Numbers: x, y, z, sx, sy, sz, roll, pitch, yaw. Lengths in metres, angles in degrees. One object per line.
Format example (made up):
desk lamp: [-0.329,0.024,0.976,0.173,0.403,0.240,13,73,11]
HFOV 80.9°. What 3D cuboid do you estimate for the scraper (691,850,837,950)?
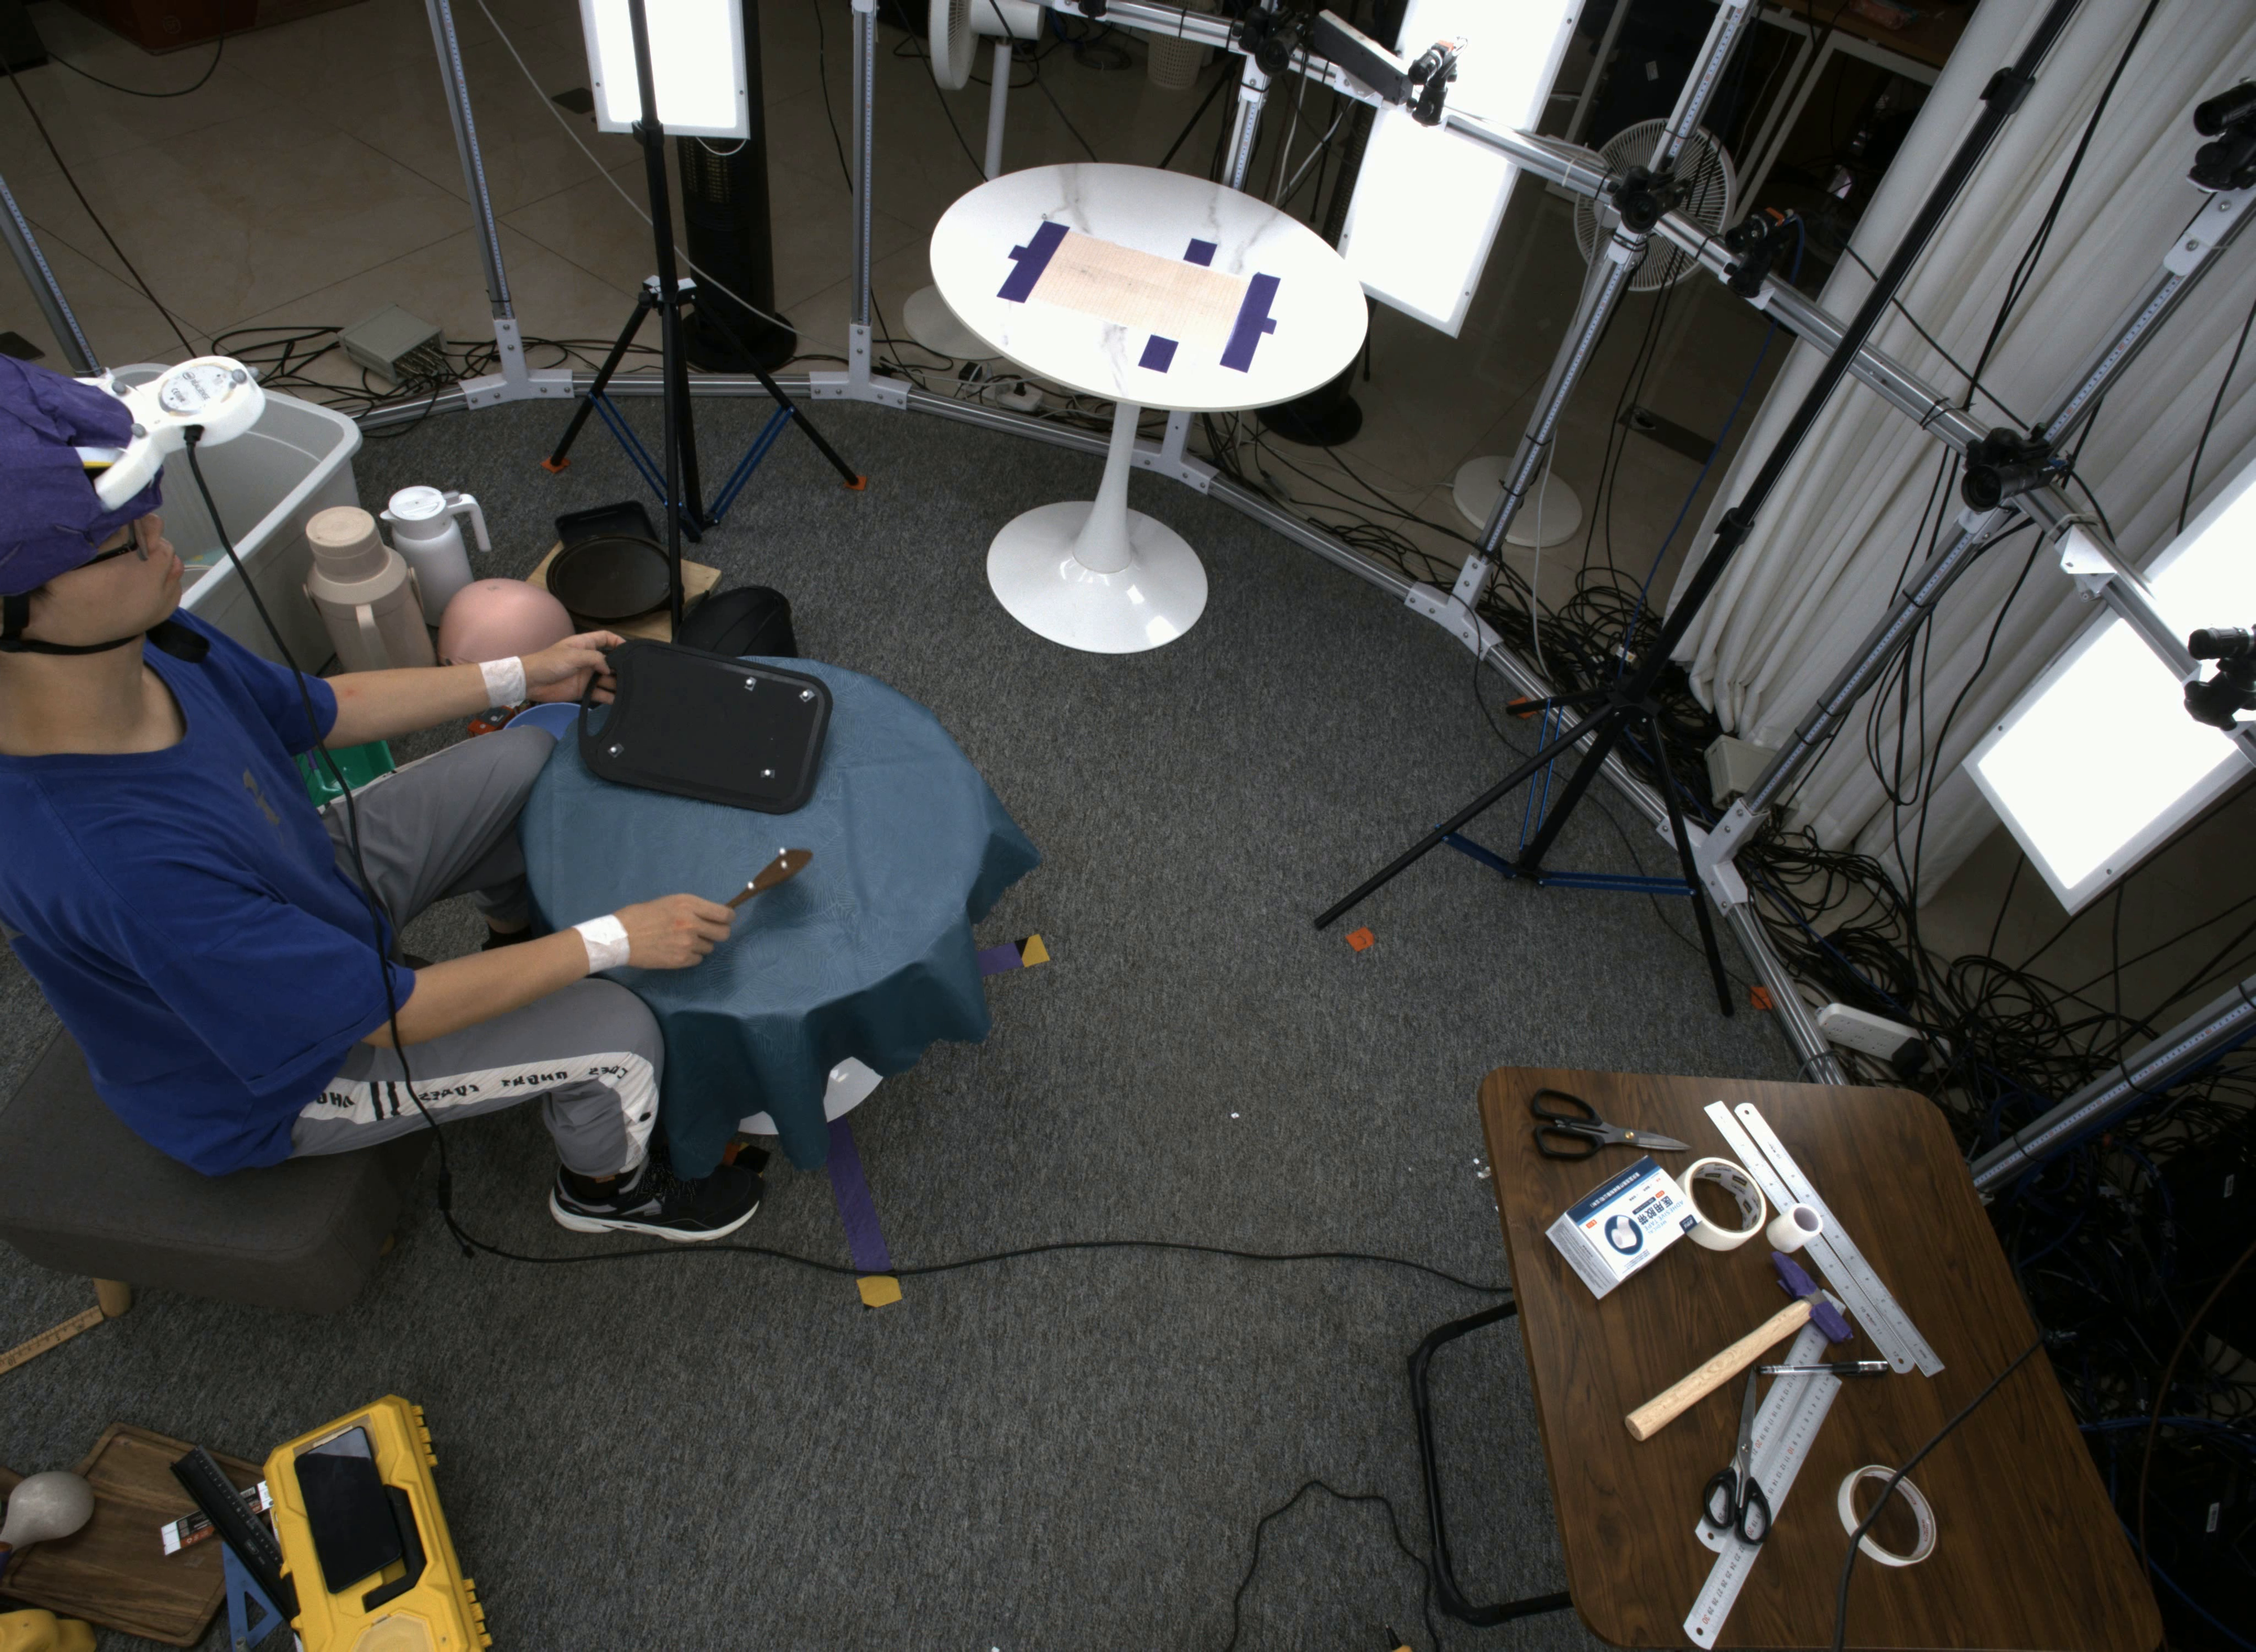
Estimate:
scraper: [-0.453,0.089,1.605,0.073,0.011,0.211,6,36,47]

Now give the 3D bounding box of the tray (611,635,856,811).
tray: [-0.546,-0.145,1.757,0.325,0.010,0.210,13,71,-9]
